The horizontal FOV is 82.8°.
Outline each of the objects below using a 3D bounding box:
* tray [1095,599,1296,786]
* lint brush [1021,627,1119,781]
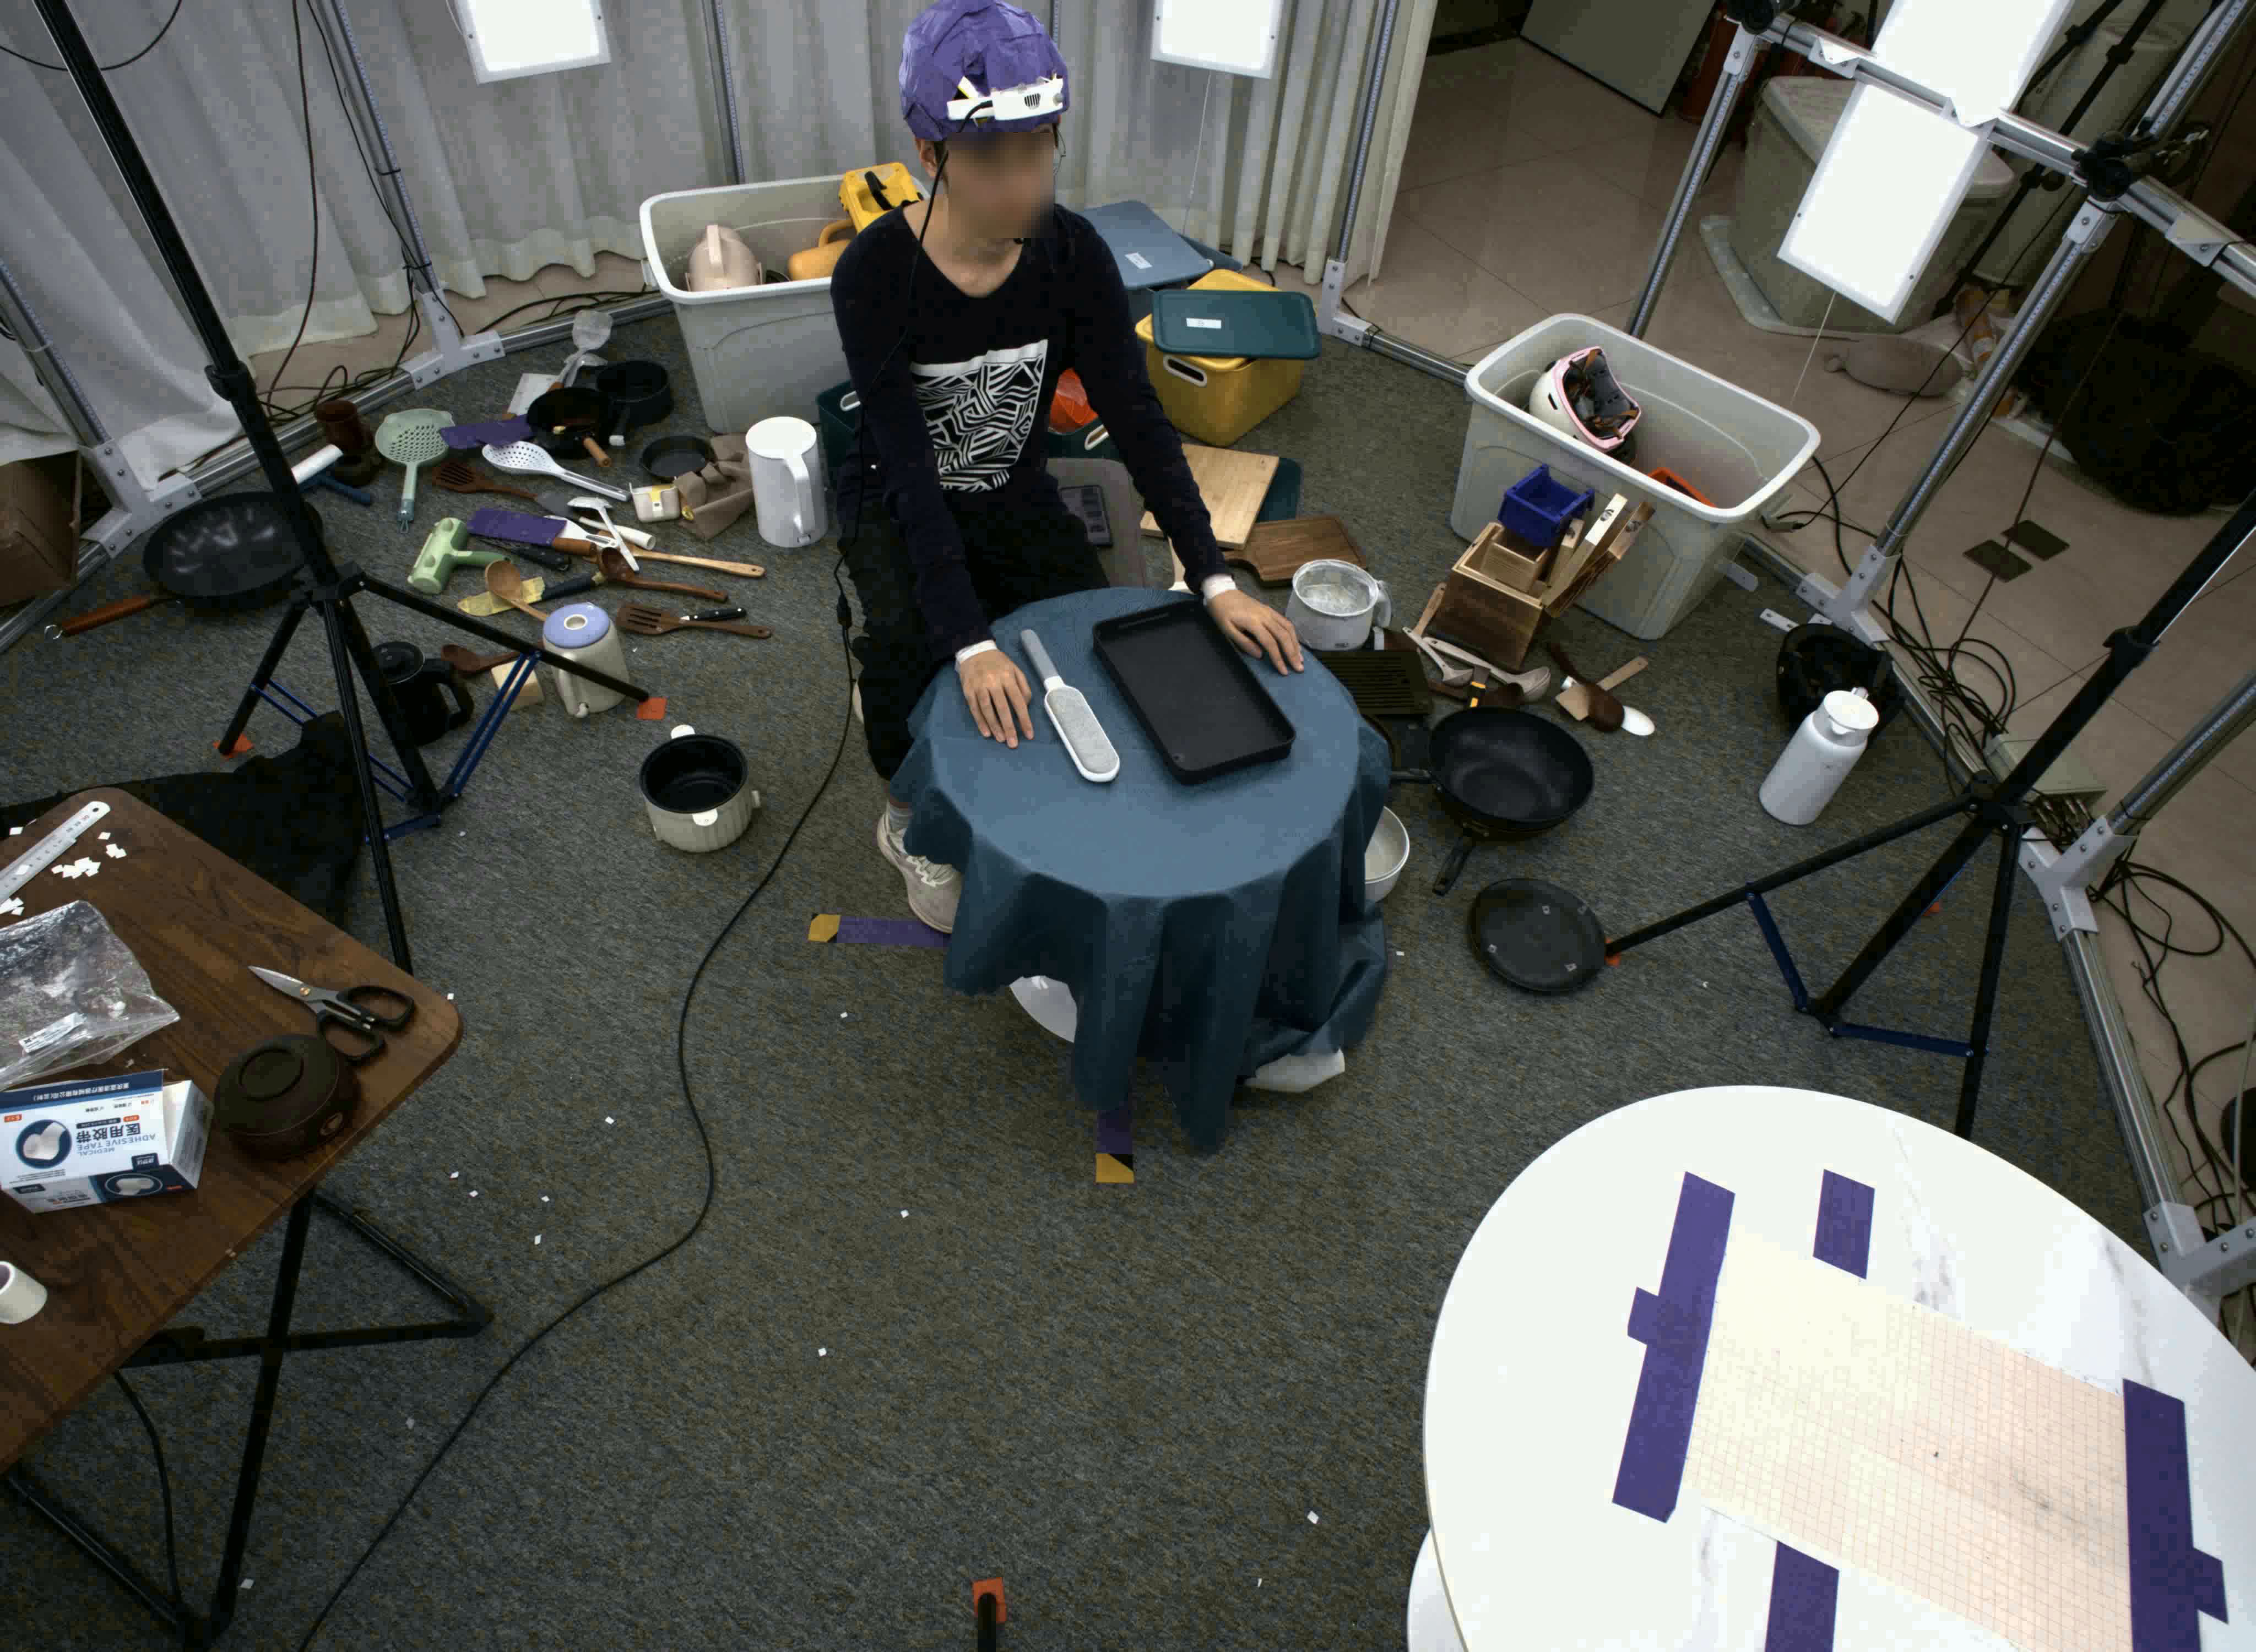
[{"bbox_3d":[0.090,-0.195,1.820,0.184,0.036,0.325,-16,52,-17],"label":"tray"},{"bbox_3d":[-0.088,-0.176,1.797,0.060,0.020,0.316,-19,53,-13],"label":"lint brush"}]
